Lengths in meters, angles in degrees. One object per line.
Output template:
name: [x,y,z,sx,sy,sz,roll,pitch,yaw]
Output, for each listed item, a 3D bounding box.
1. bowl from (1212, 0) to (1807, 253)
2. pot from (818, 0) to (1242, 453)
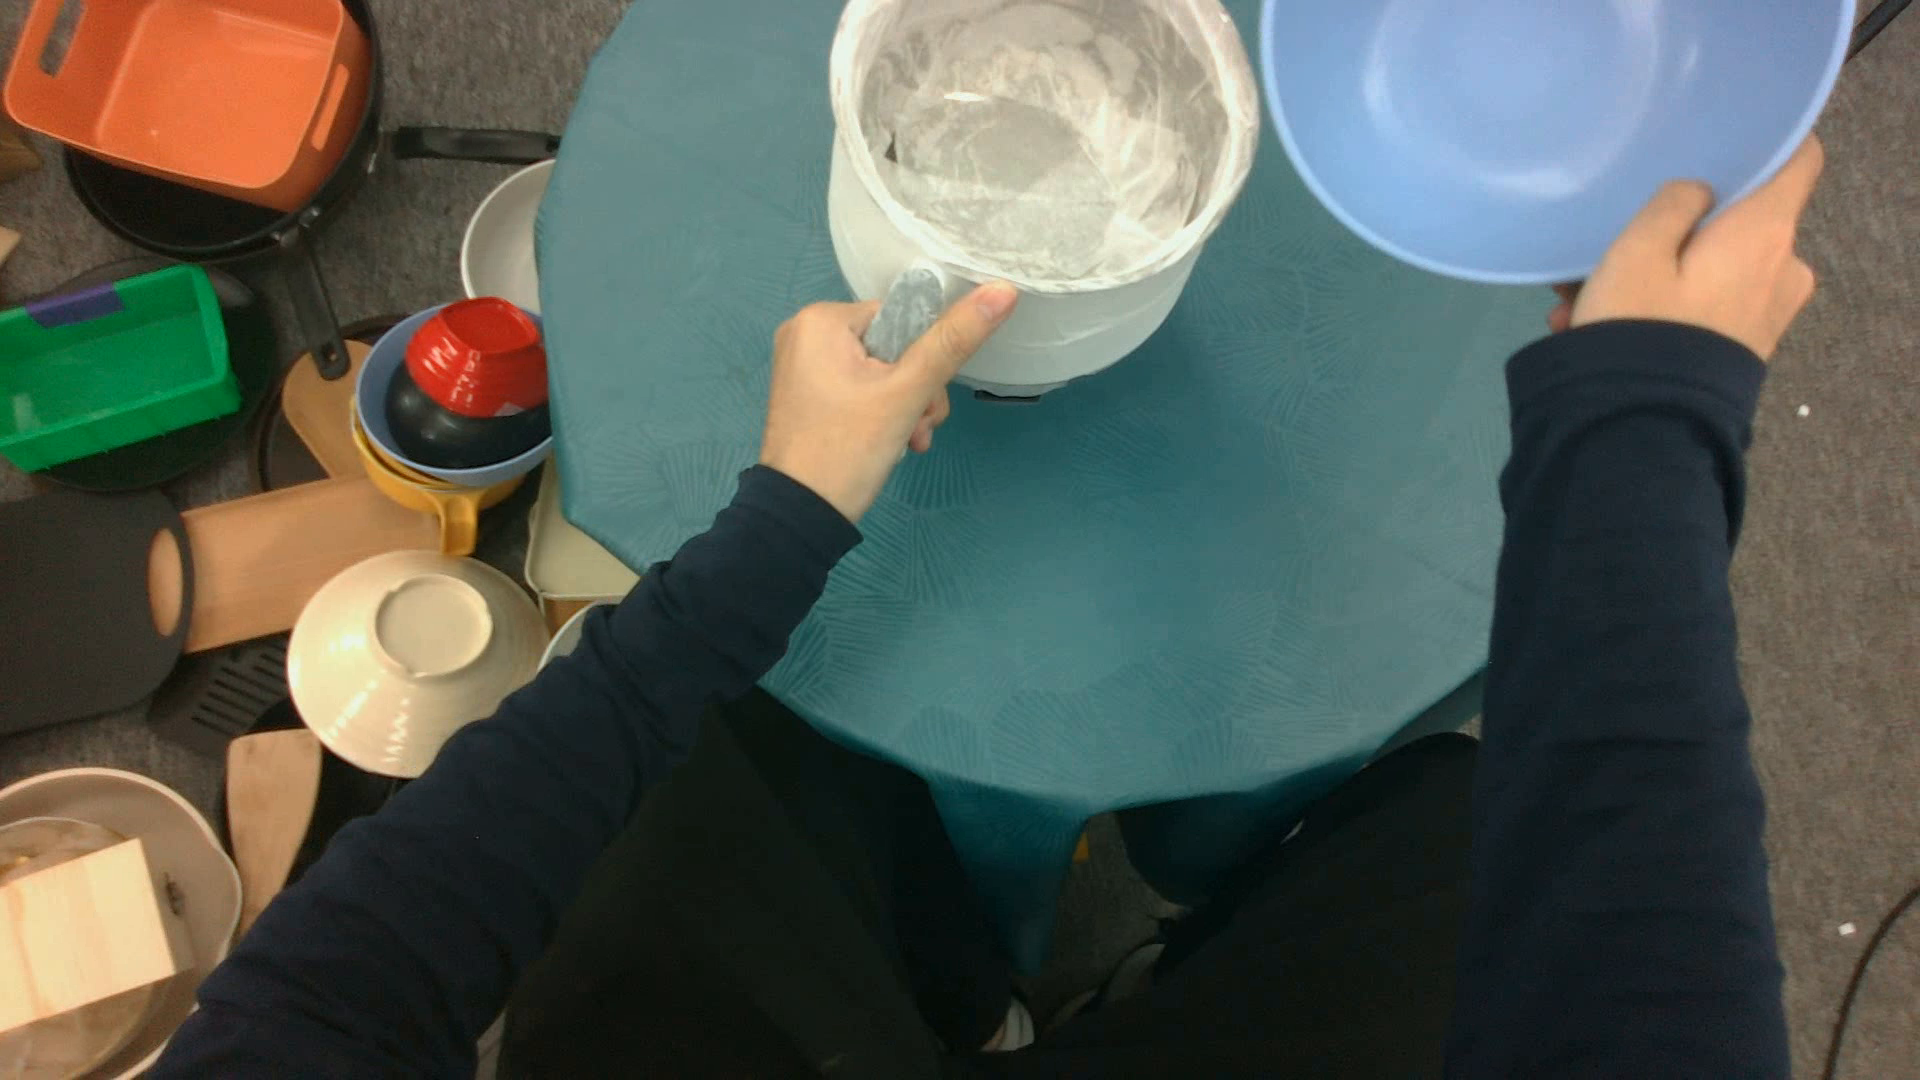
bowl: [0.198,-0.206,0.518,0.196,0.095,0.196,2,99,15]
pot: [0.011,-0.150,0.617,0.179,0.136,0.234,29,72,4]
